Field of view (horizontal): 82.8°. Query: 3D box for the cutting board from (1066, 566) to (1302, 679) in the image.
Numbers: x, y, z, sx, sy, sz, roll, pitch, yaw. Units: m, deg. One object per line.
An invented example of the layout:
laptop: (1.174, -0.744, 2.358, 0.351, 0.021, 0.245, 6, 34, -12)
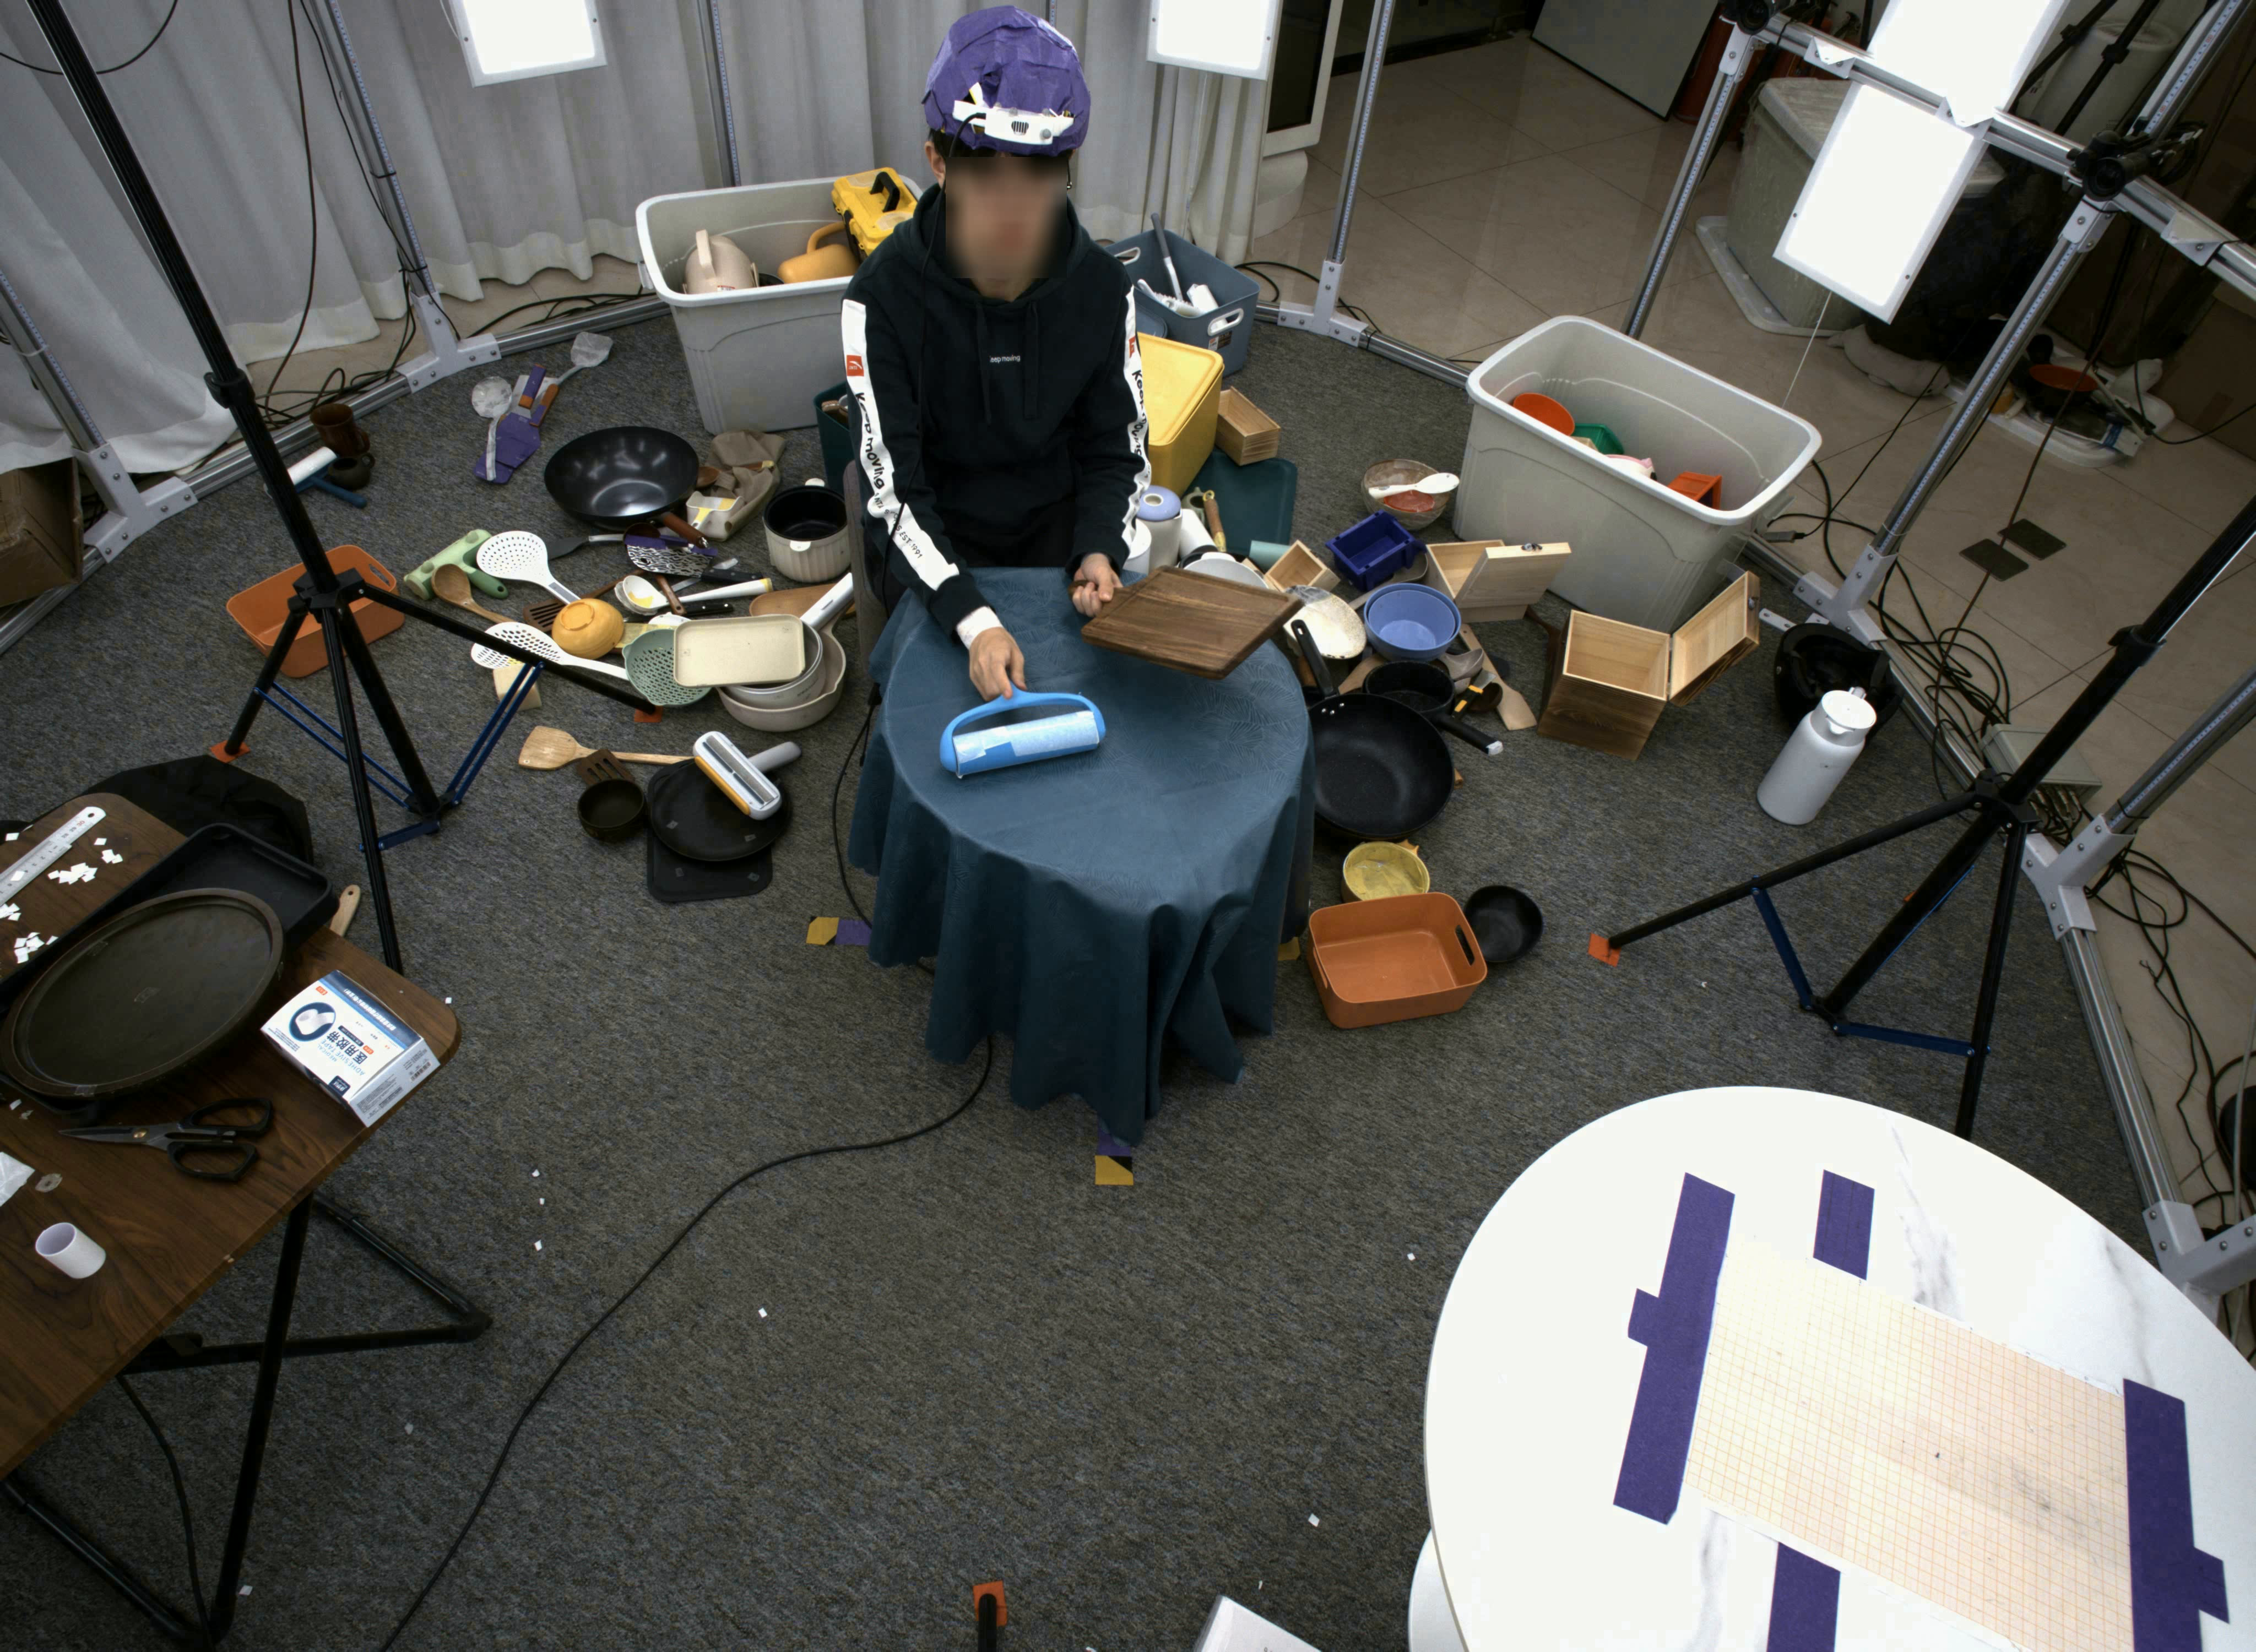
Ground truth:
cutting board: (0.049, -0.303, 1.818, 0.356, 0.022, 0.203, 21, 49, 36)

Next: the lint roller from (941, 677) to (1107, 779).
lint roller: (-0.159, -0.155, 1.755, 0.229, 0.066, 0.184, -16, 53, -15)
